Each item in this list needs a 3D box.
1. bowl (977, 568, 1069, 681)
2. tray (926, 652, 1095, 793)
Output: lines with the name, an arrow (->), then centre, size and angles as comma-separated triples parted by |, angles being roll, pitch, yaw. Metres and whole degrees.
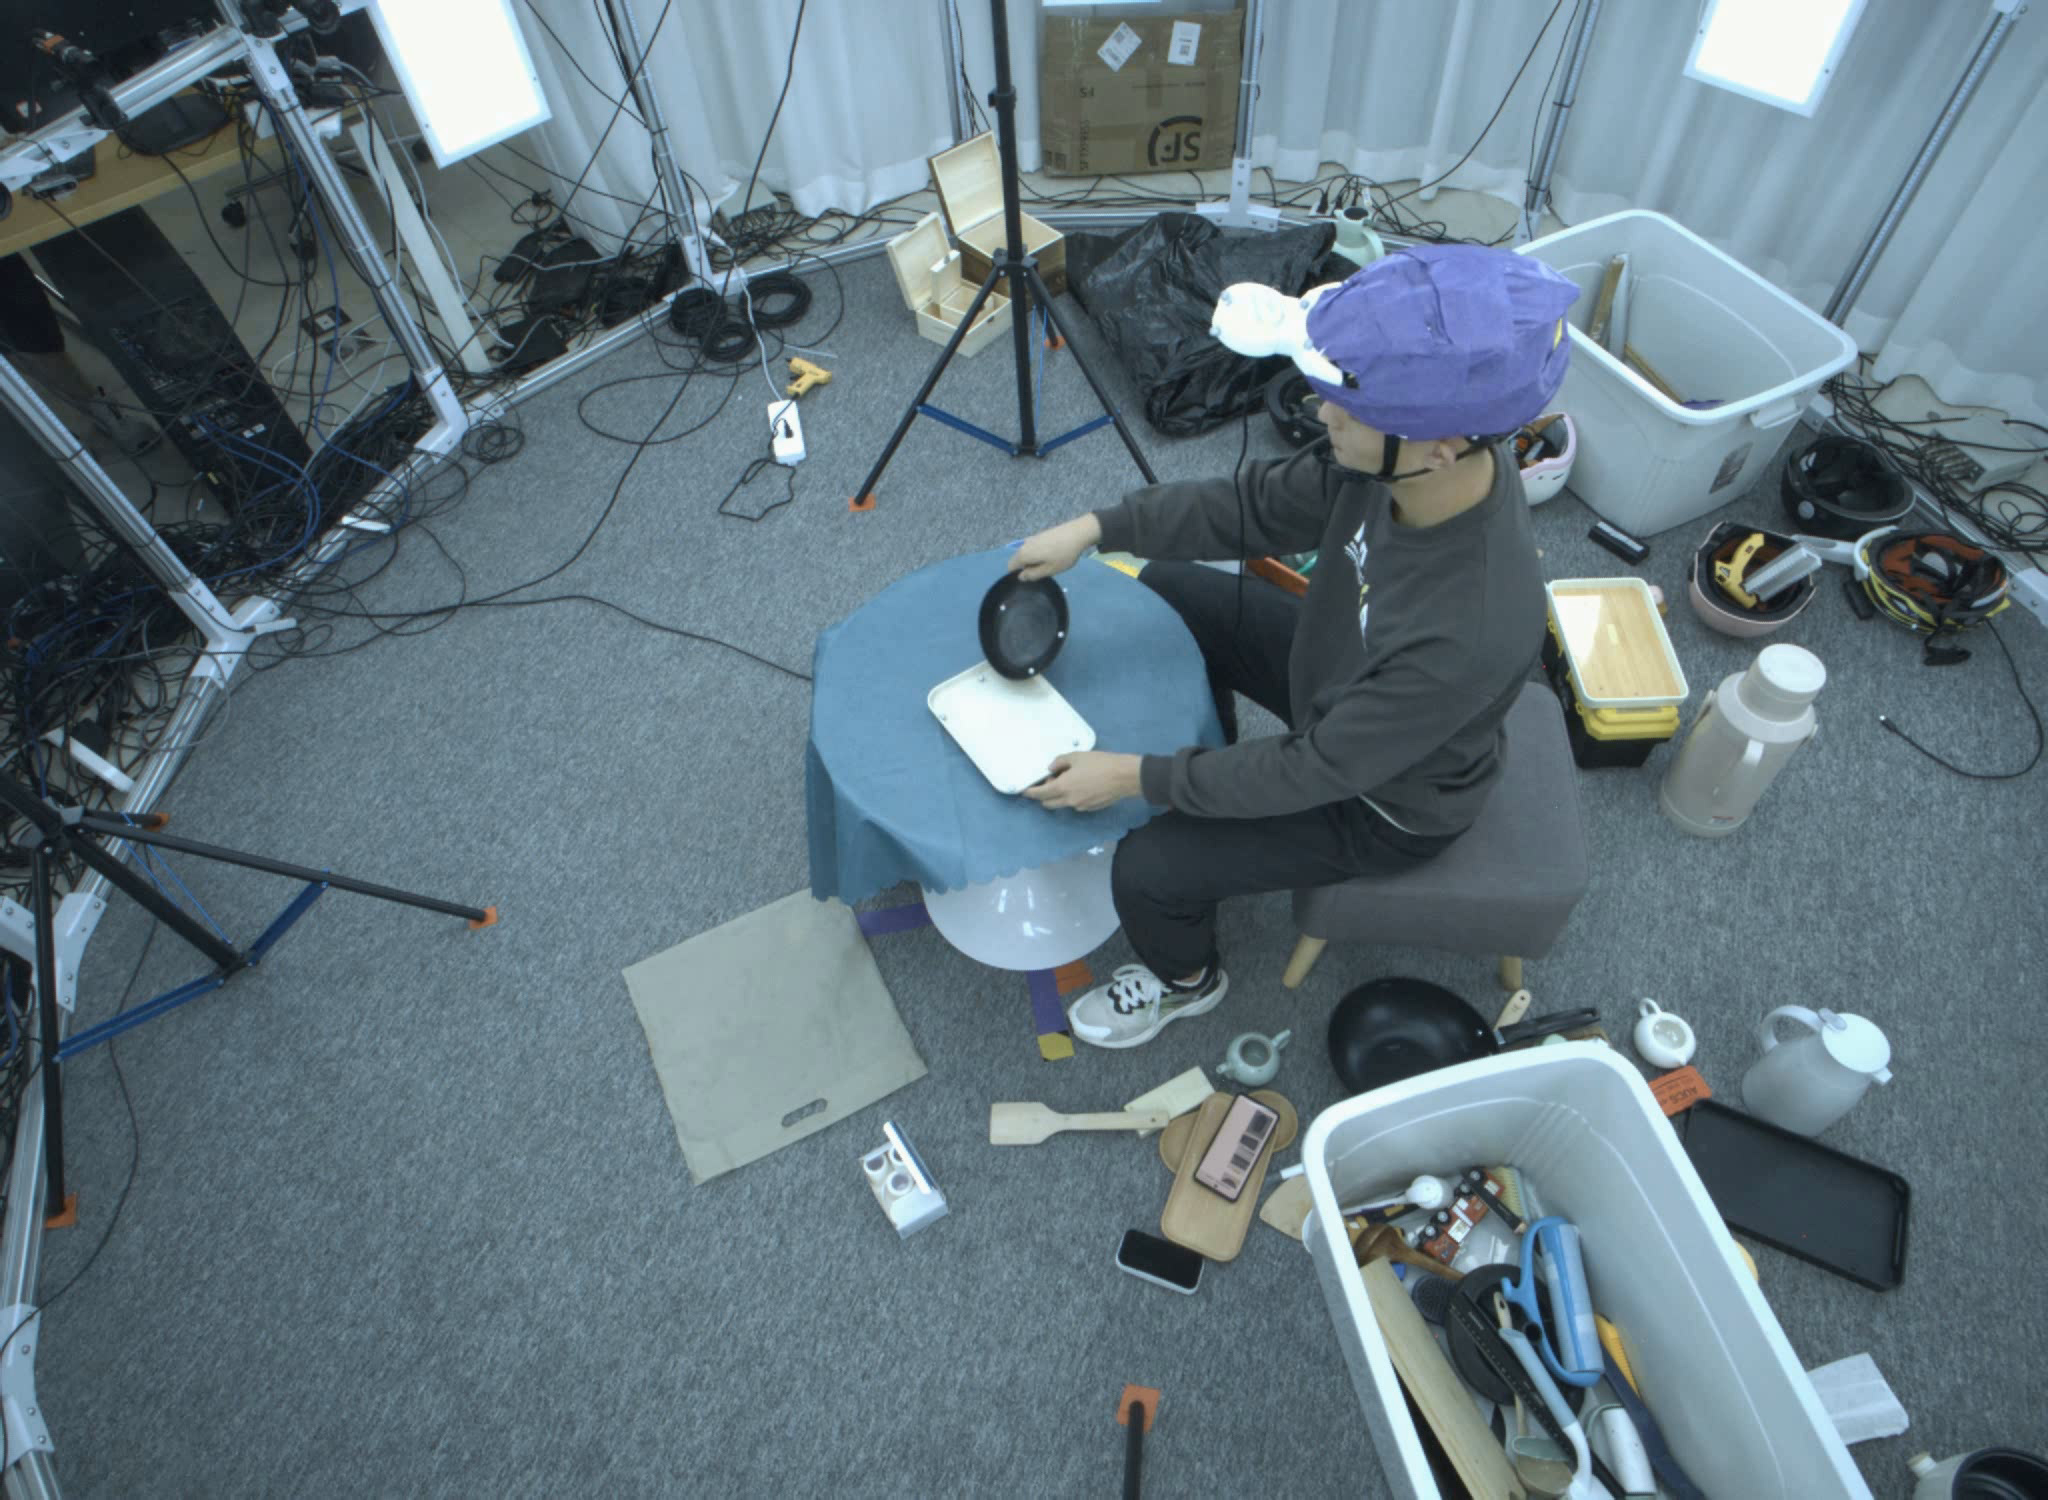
bowl -> 0.002, -0.184, 1.841 | 0.136, 0.067, 0.170 | 7, 88, 10
tray -> -0.021, -0.042, 1.800 | 0.173, 0.017, 0.235 | -29, 56, -19
